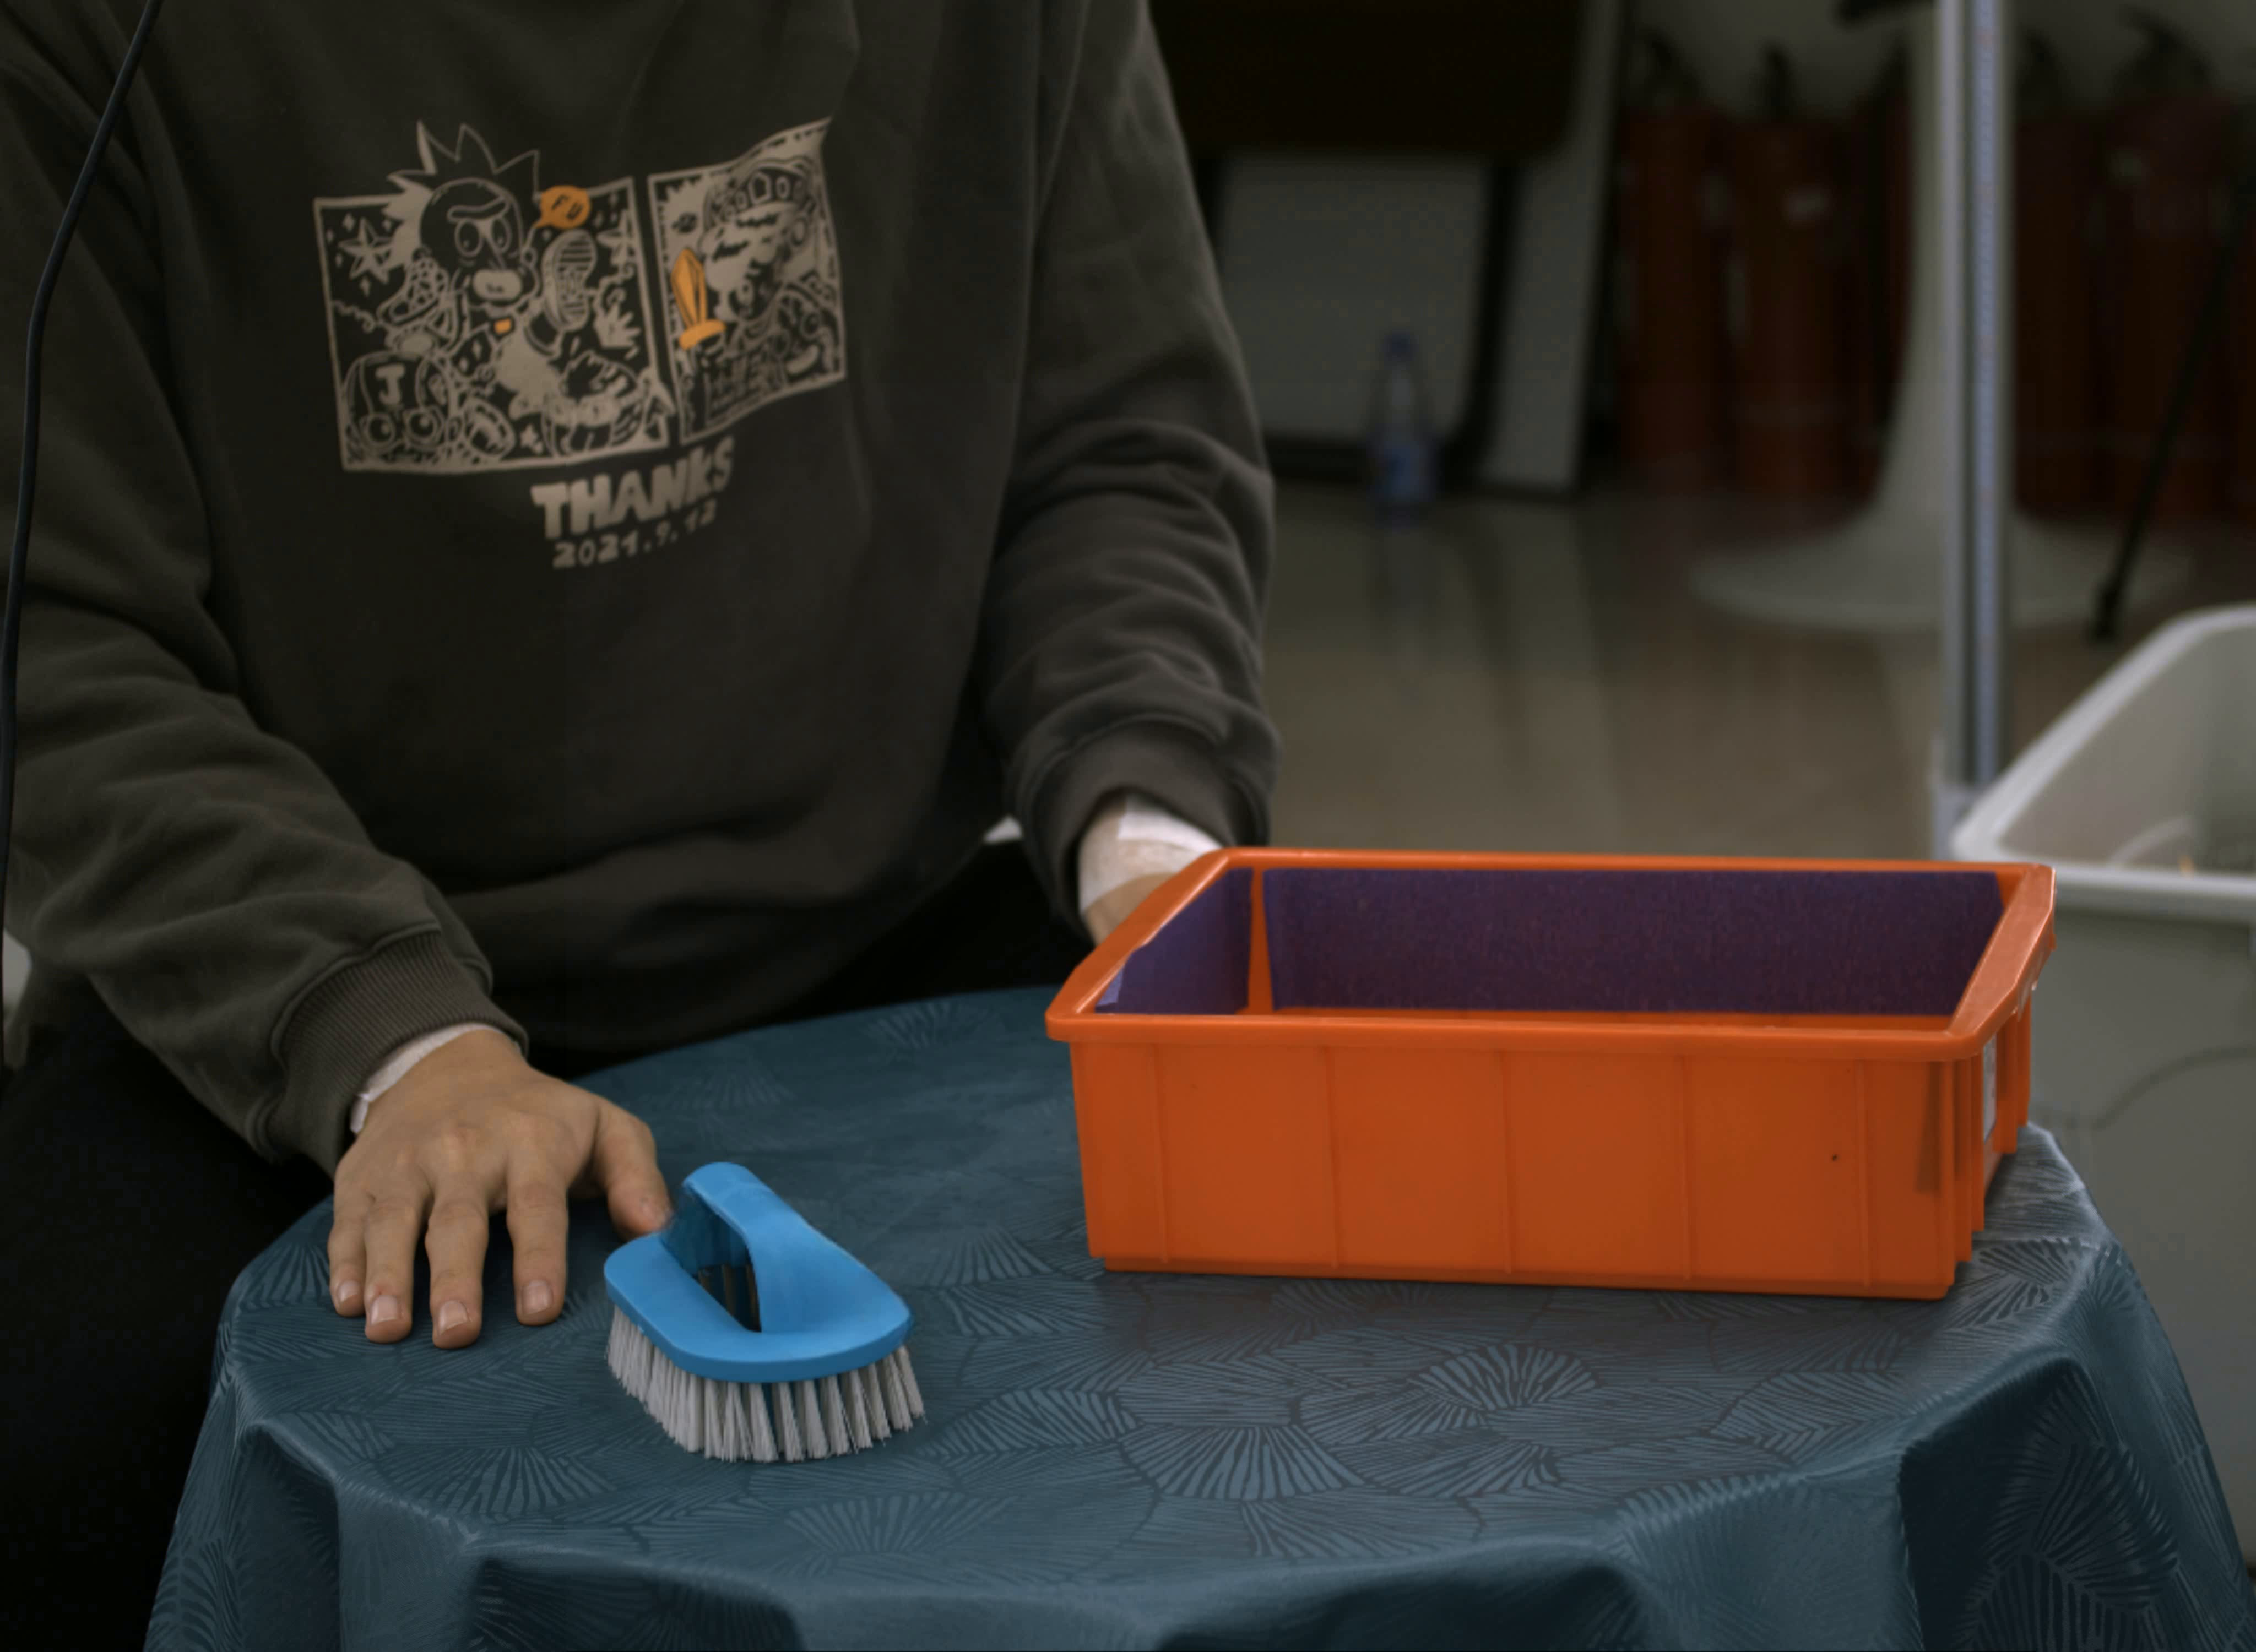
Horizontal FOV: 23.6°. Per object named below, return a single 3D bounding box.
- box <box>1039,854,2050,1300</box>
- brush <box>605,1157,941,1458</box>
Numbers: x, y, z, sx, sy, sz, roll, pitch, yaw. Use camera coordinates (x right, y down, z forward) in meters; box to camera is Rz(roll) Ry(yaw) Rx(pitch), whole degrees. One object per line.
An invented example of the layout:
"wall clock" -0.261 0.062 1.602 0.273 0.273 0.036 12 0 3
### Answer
"box" 0.139 0.079 1.727 0.303 0.097 0.204 1 14 18
"brush" -0.109 0.136 1.608 0.083 0.064 0.143 -13 14 -16
